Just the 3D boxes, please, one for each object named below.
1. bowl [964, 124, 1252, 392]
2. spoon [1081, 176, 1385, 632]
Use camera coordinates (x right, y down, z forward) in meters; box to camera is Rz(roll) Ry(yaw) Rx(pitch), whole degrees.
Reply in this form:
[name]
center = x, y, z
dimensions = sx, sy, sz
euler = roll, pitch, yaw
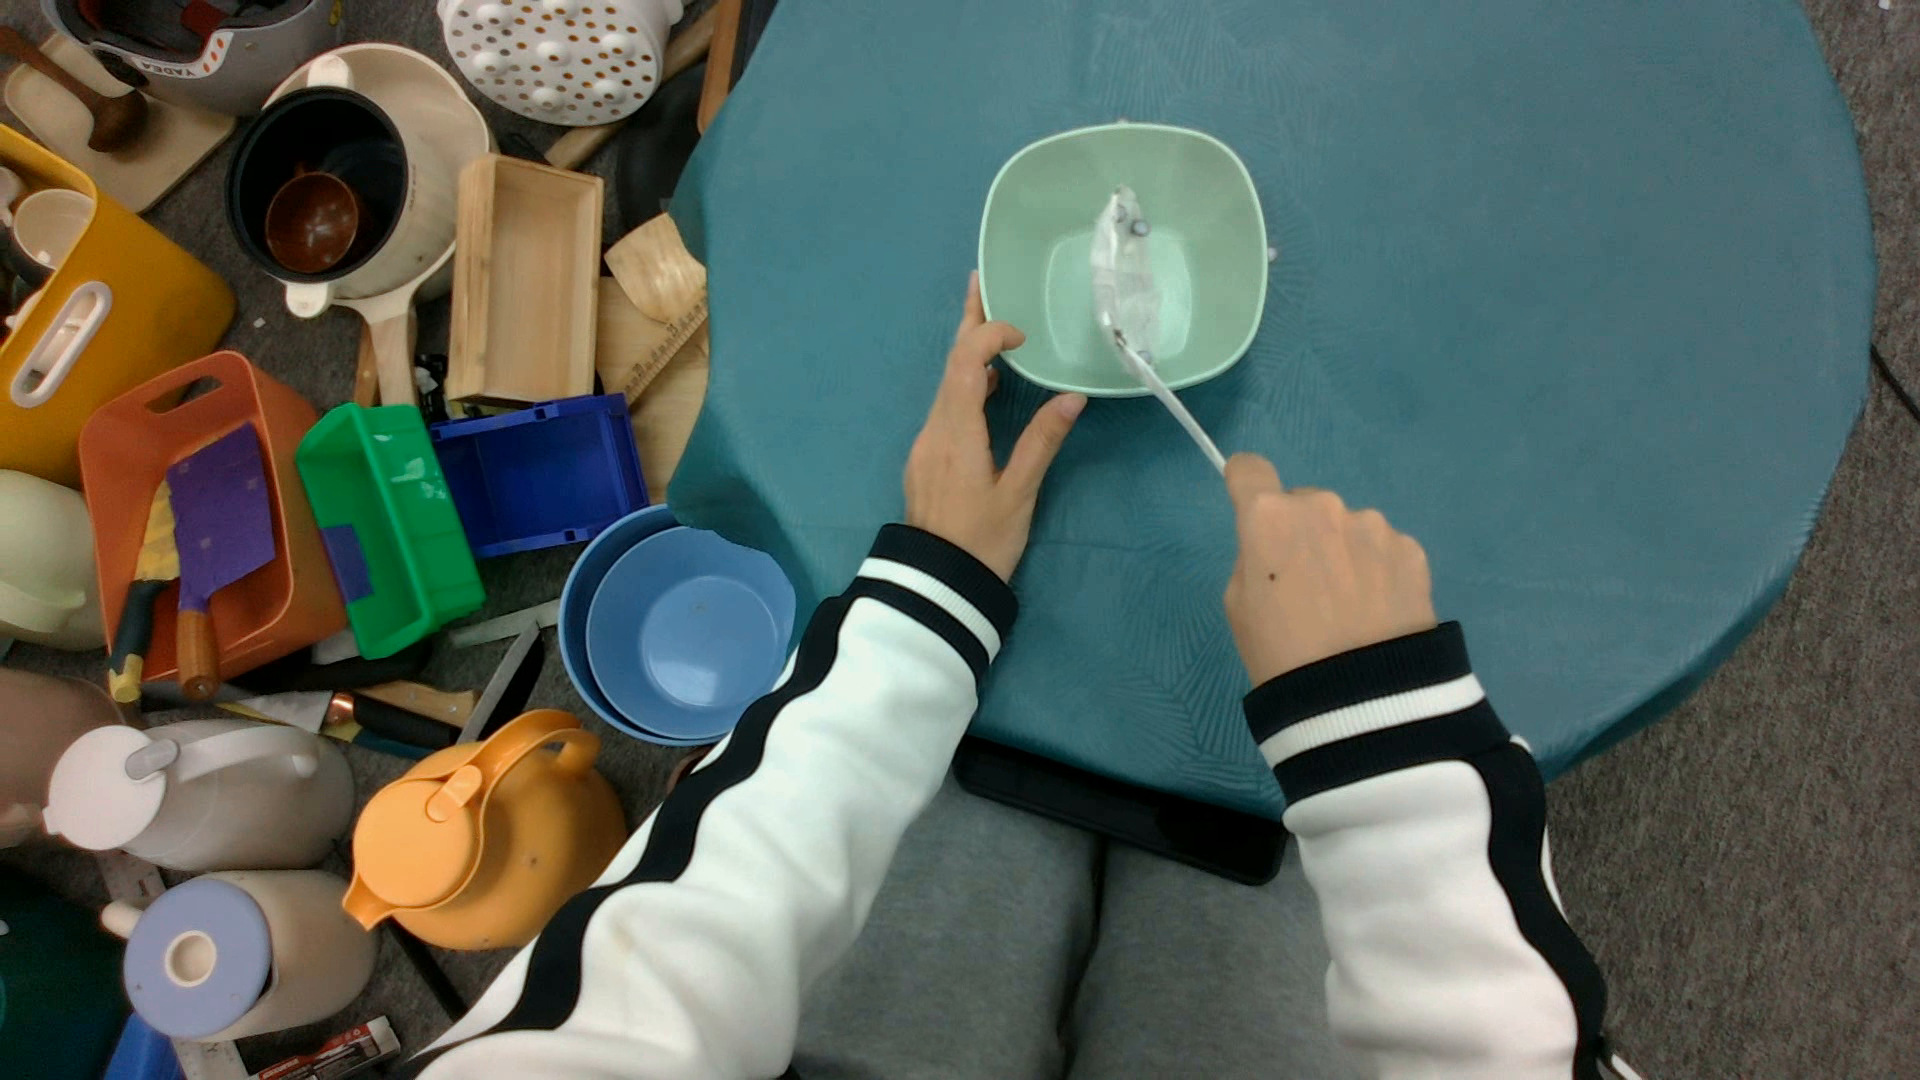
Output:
[bowl]
center = 0.073, -0.133, 0.693
dimensions = 0.151, 0.058, 0.152
euler = -1, 77, 4
[spoon]
center = 0.118, -0.070, 0.594
dimensions = 0.059, 0.100, 0.278
euler = -34, 46, 2
